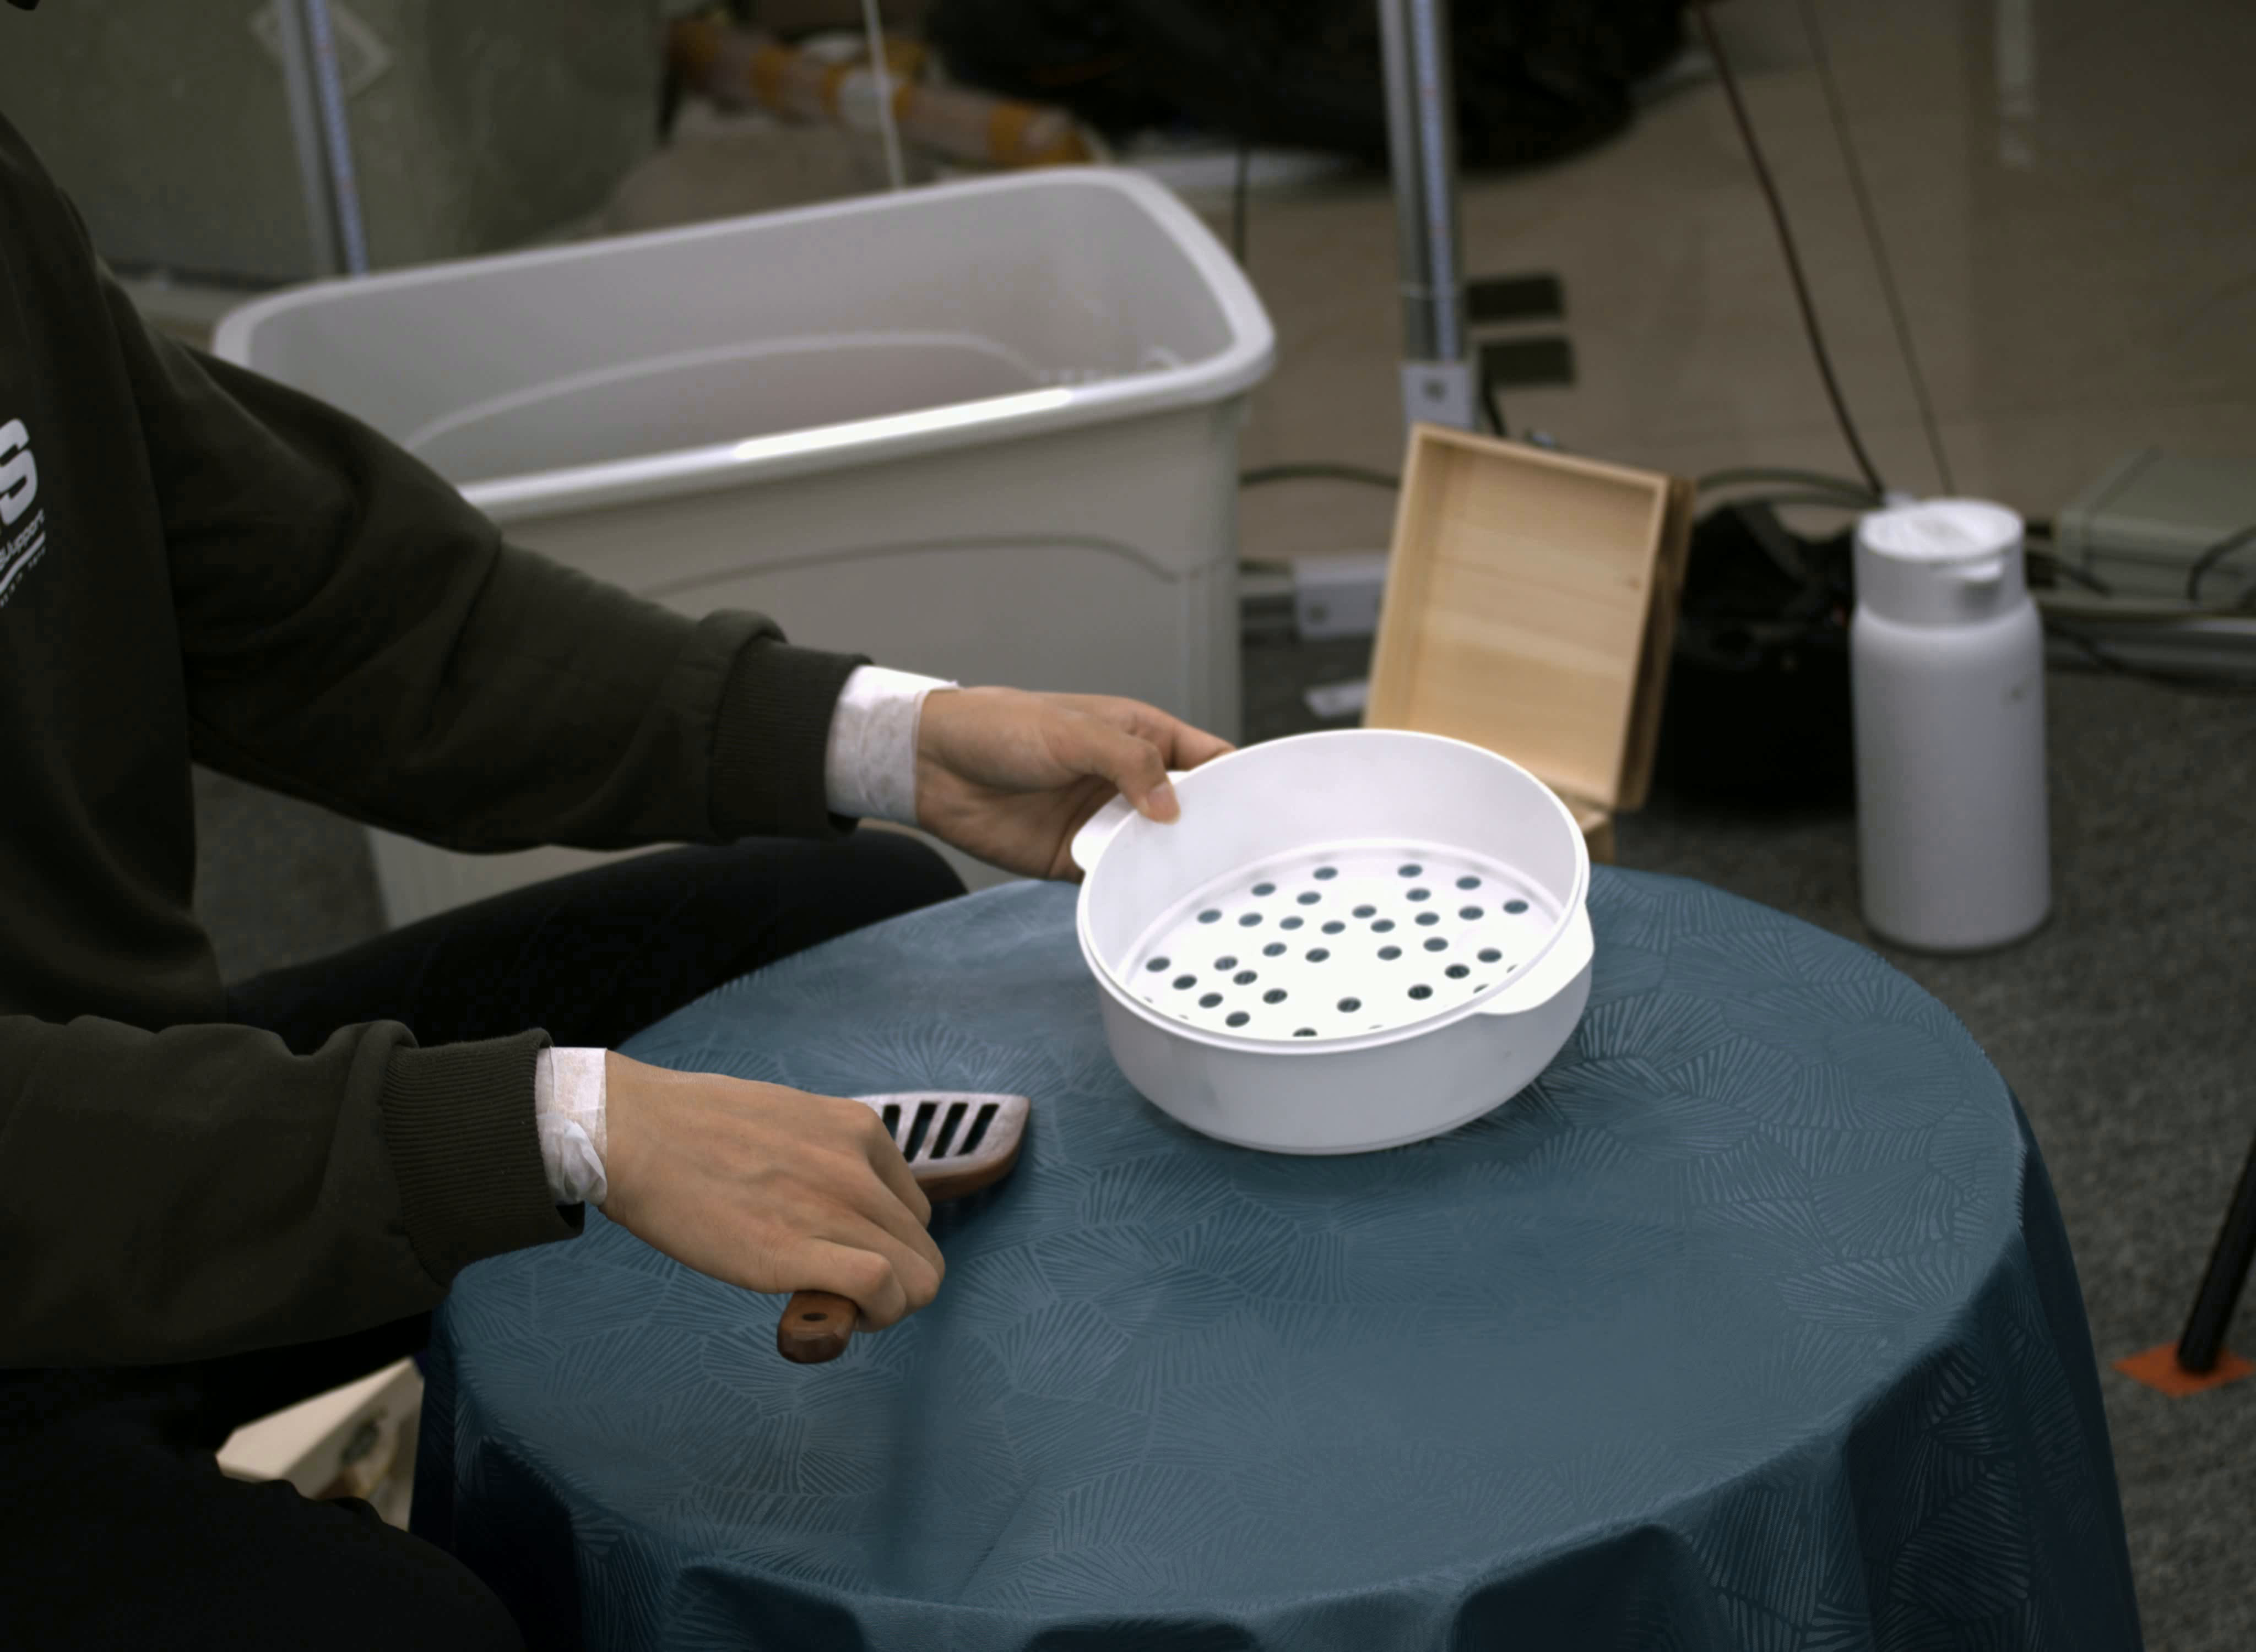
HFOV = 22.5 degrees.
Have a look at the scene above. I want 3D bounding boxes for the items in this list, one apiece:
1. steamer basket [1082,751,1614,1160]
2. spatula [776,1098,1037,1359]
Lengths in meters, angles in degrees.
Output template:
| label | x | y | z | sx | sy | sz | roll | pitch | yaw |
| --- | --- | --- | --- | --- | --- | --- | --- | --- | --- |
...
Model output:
| label | x | y | z | sx | sy | sz | roll | pitch | yaw |
| --- | --- | --- | --- | --- | --- | --- | --- | --- | --- |
| steamer basket | 0.088 | 0.051 | 2.213 | 0.229 | 0.070 | 0.199 | 17 | 43 | 36 |
| spatula | -0.090 | 0.143 | 2.043 | 0.085 | 0.024 | 0.383 | 0 | 7 | 4 |
